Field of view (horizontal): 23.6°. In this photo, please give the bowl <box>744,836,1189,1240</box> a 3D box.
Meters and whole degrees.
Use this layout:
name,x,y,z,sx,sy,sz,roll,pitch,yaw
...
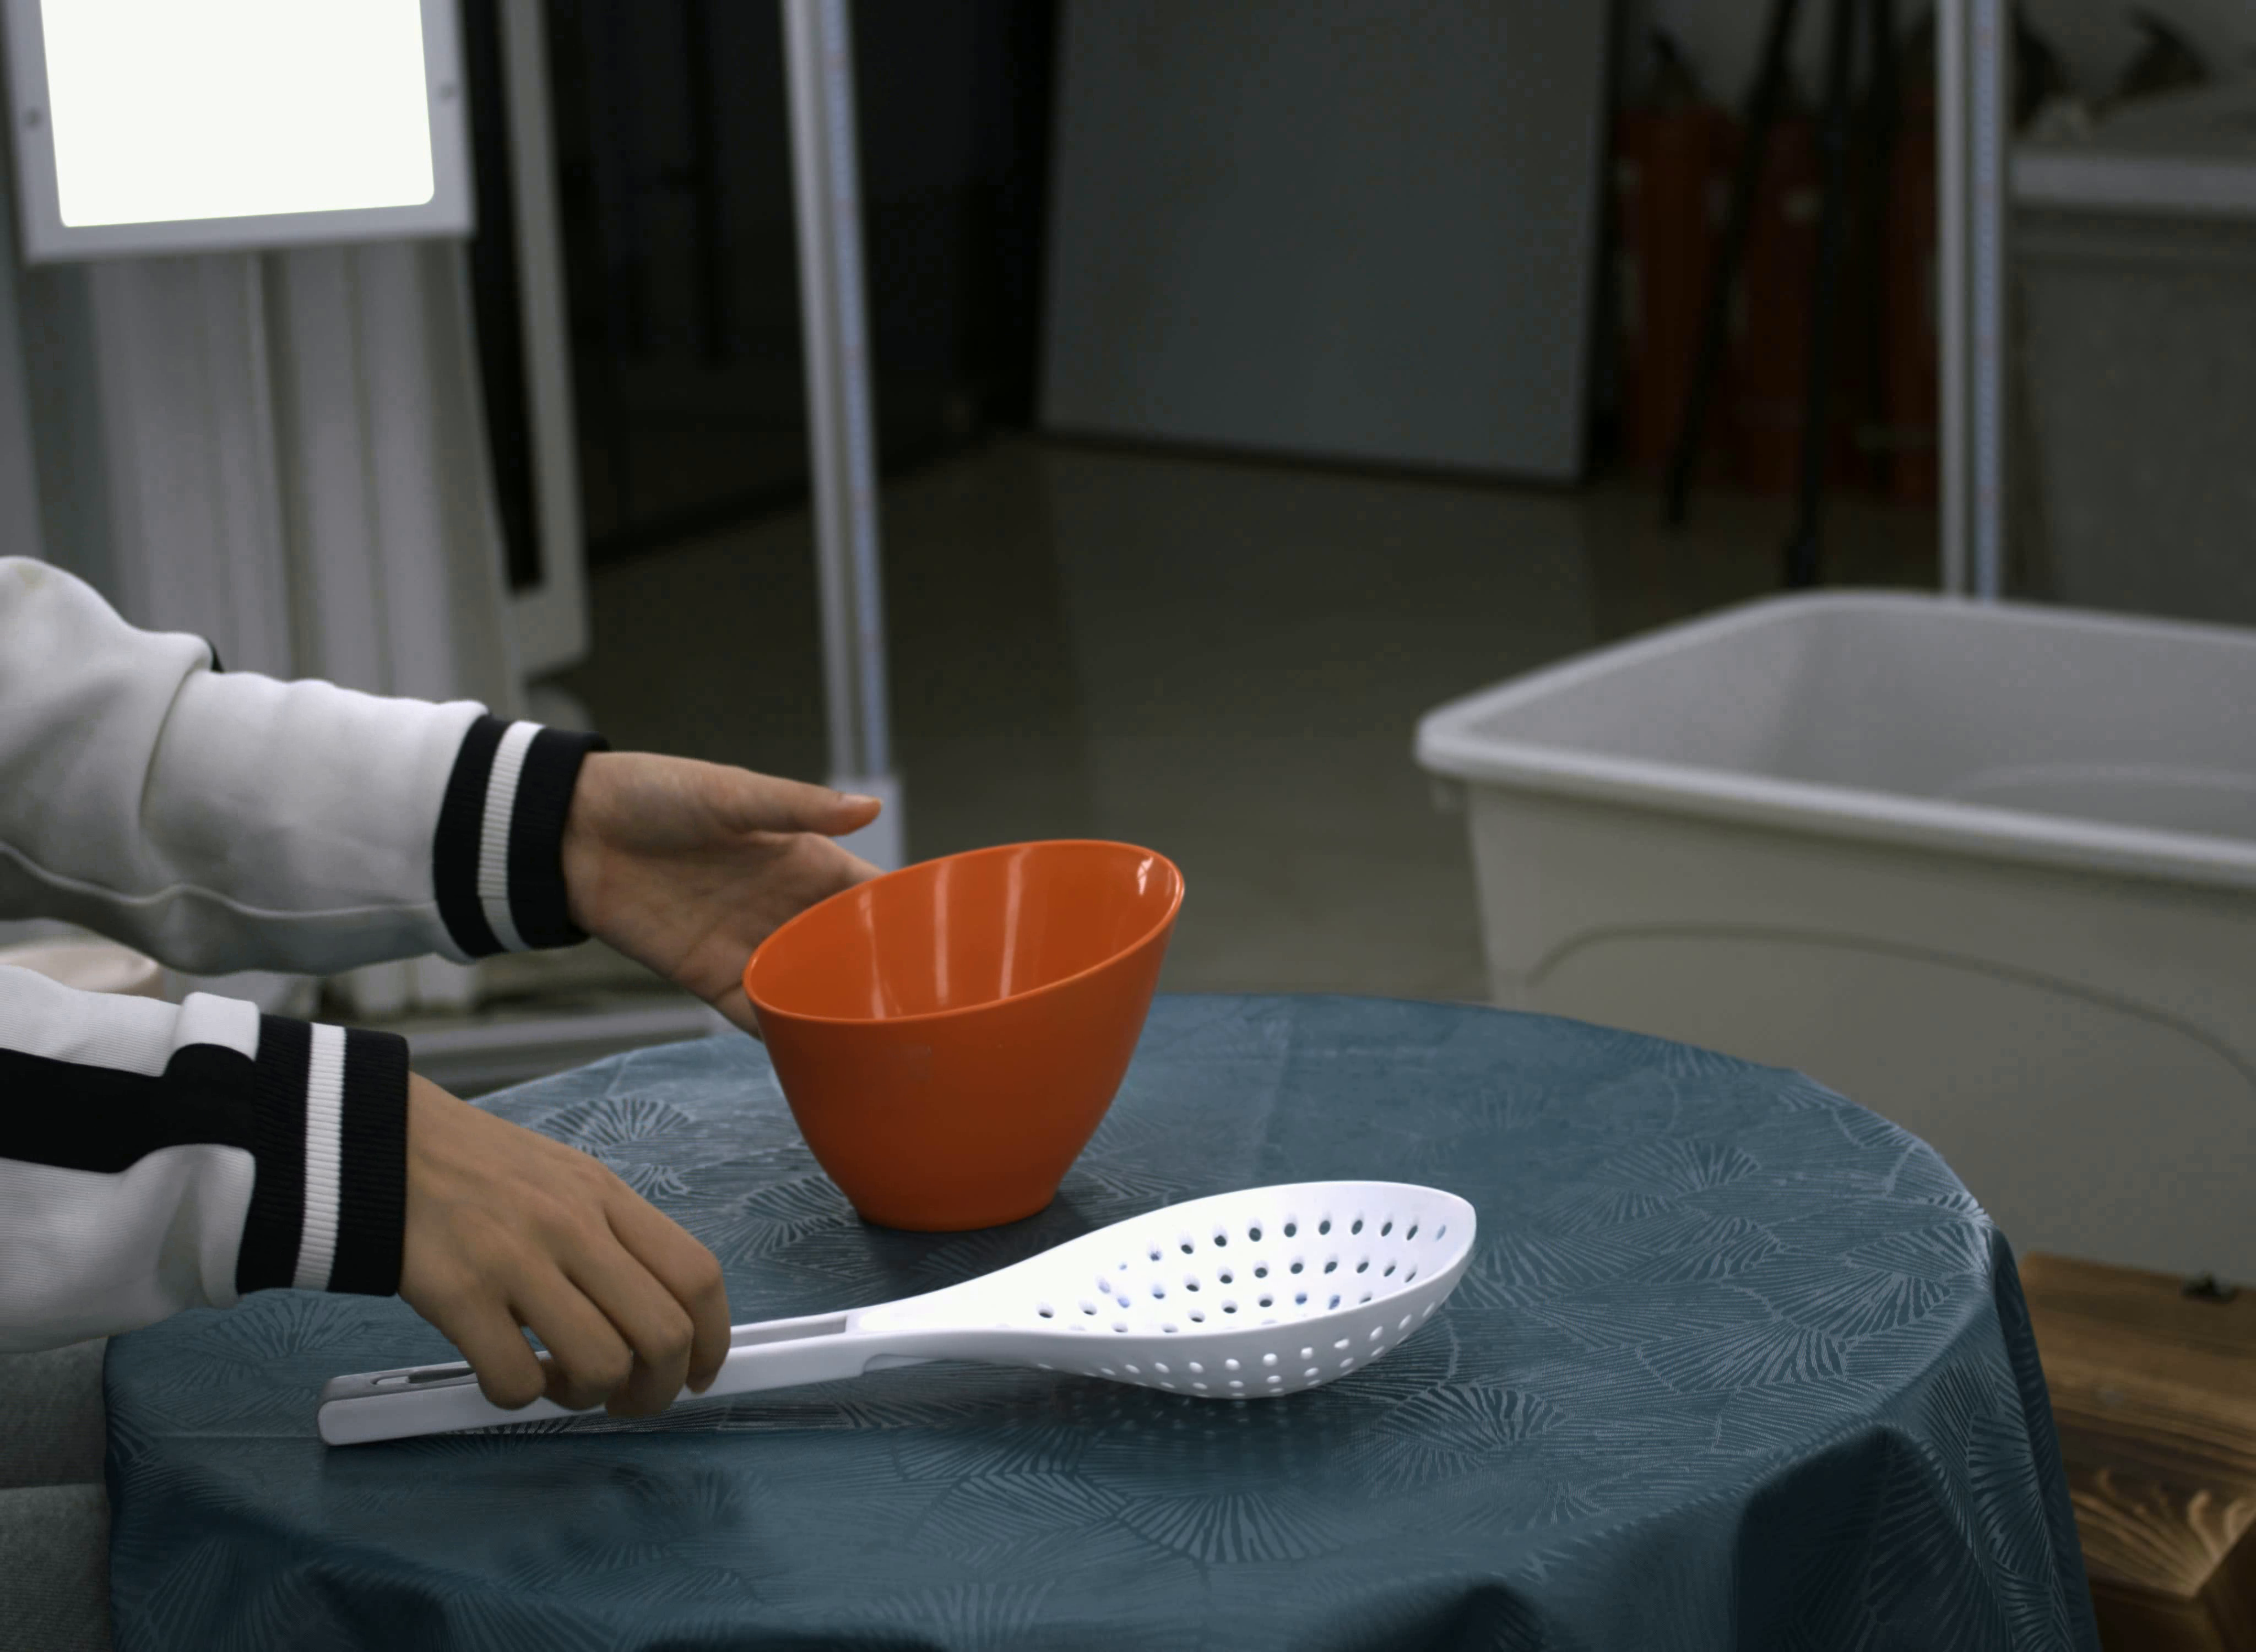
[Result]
name,x,y,z,sx,sy,sz,roll,pitch,yaw
bowl,-0.050,0.073,1.765,0.146,0.106,0.148,-3,17,0

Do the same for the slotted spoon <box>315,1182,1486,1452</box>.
name,x,y,z,sx,sy,sz,roll,pitch,yaw
slotted spoon,-0.066,0.149,1.582,0.345,0.046,0.136,-4,12,2
